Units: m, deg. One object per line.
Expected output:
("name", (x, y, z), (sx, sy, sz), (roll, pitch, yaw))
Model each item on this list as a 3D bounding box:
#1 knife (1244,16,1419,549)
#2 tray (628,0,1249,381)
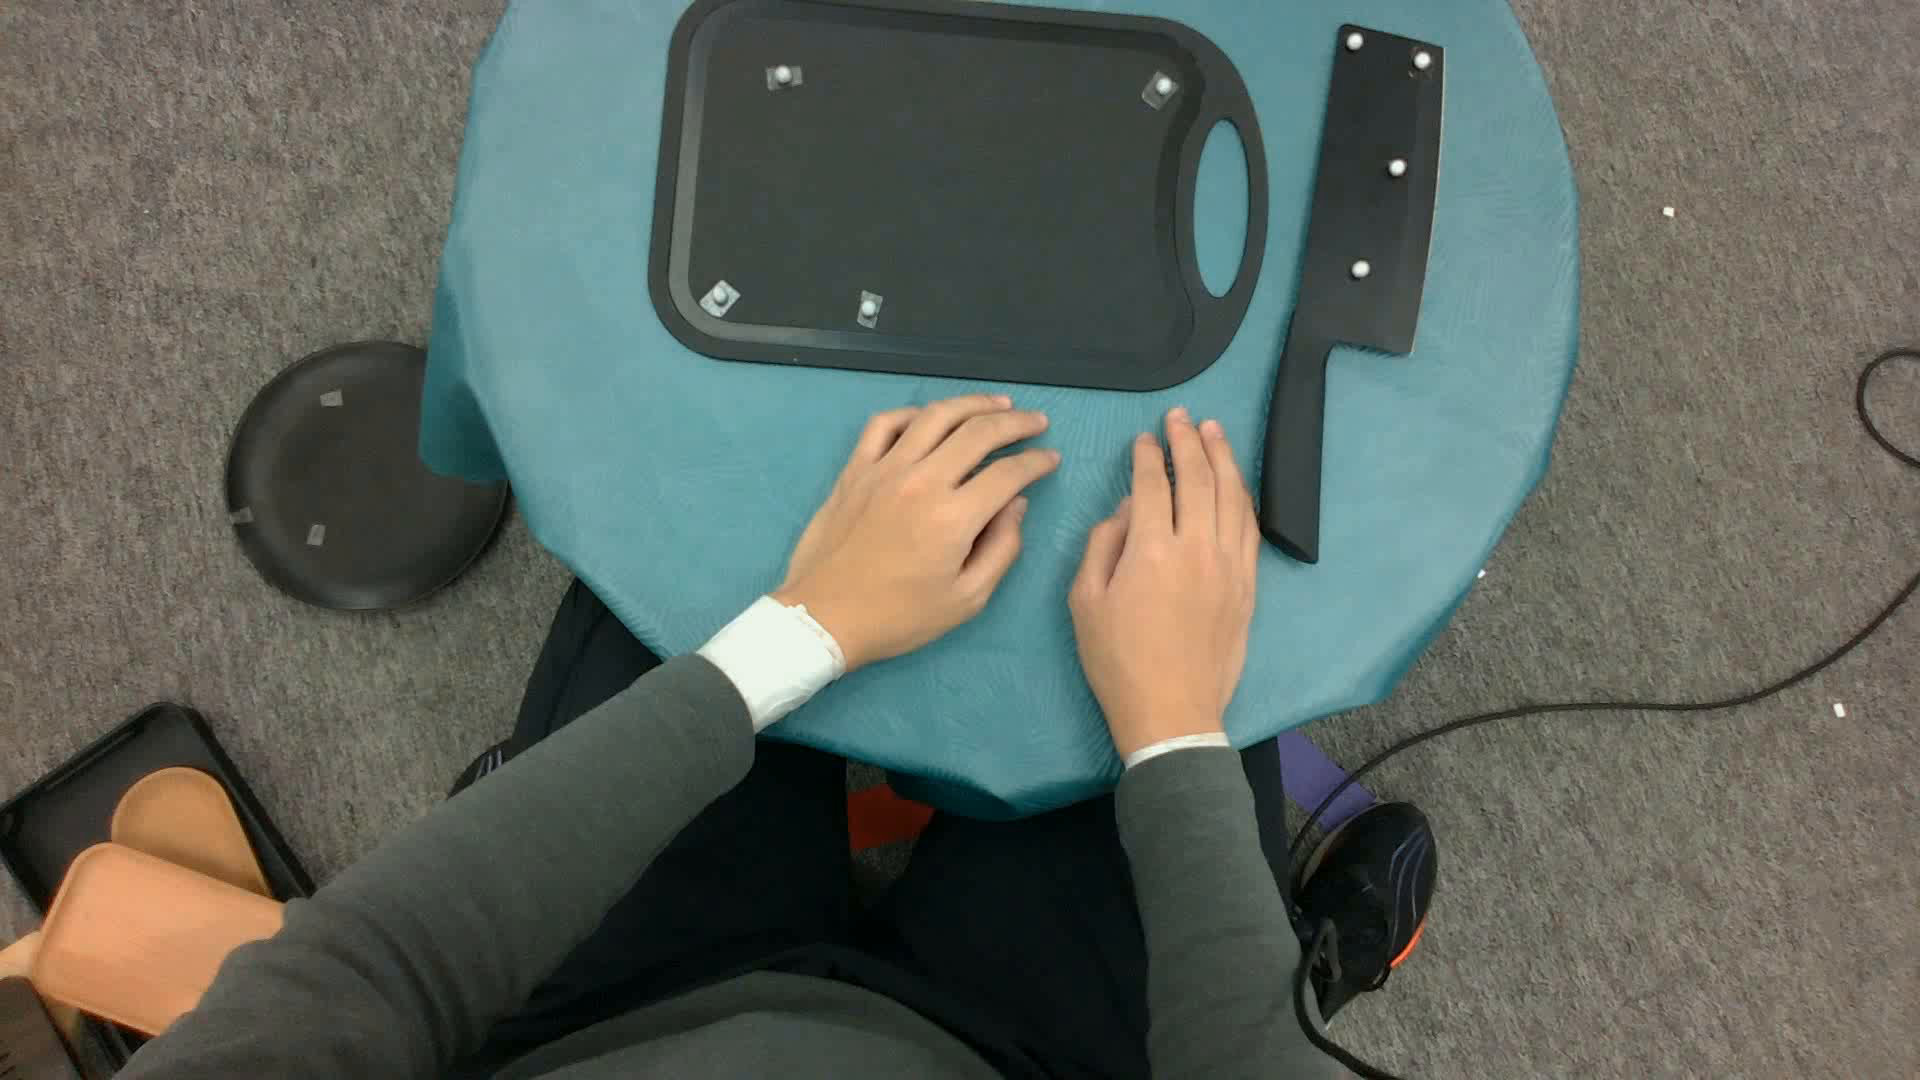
("knife", (0.198, -0.142, 0.734), (0.081, 0.021, 0.303), (15, 78, -3))
("tray", (-0.006, -0.195, 0.730), (0.325, 0.010, 0.211), (5, 81, -4))
